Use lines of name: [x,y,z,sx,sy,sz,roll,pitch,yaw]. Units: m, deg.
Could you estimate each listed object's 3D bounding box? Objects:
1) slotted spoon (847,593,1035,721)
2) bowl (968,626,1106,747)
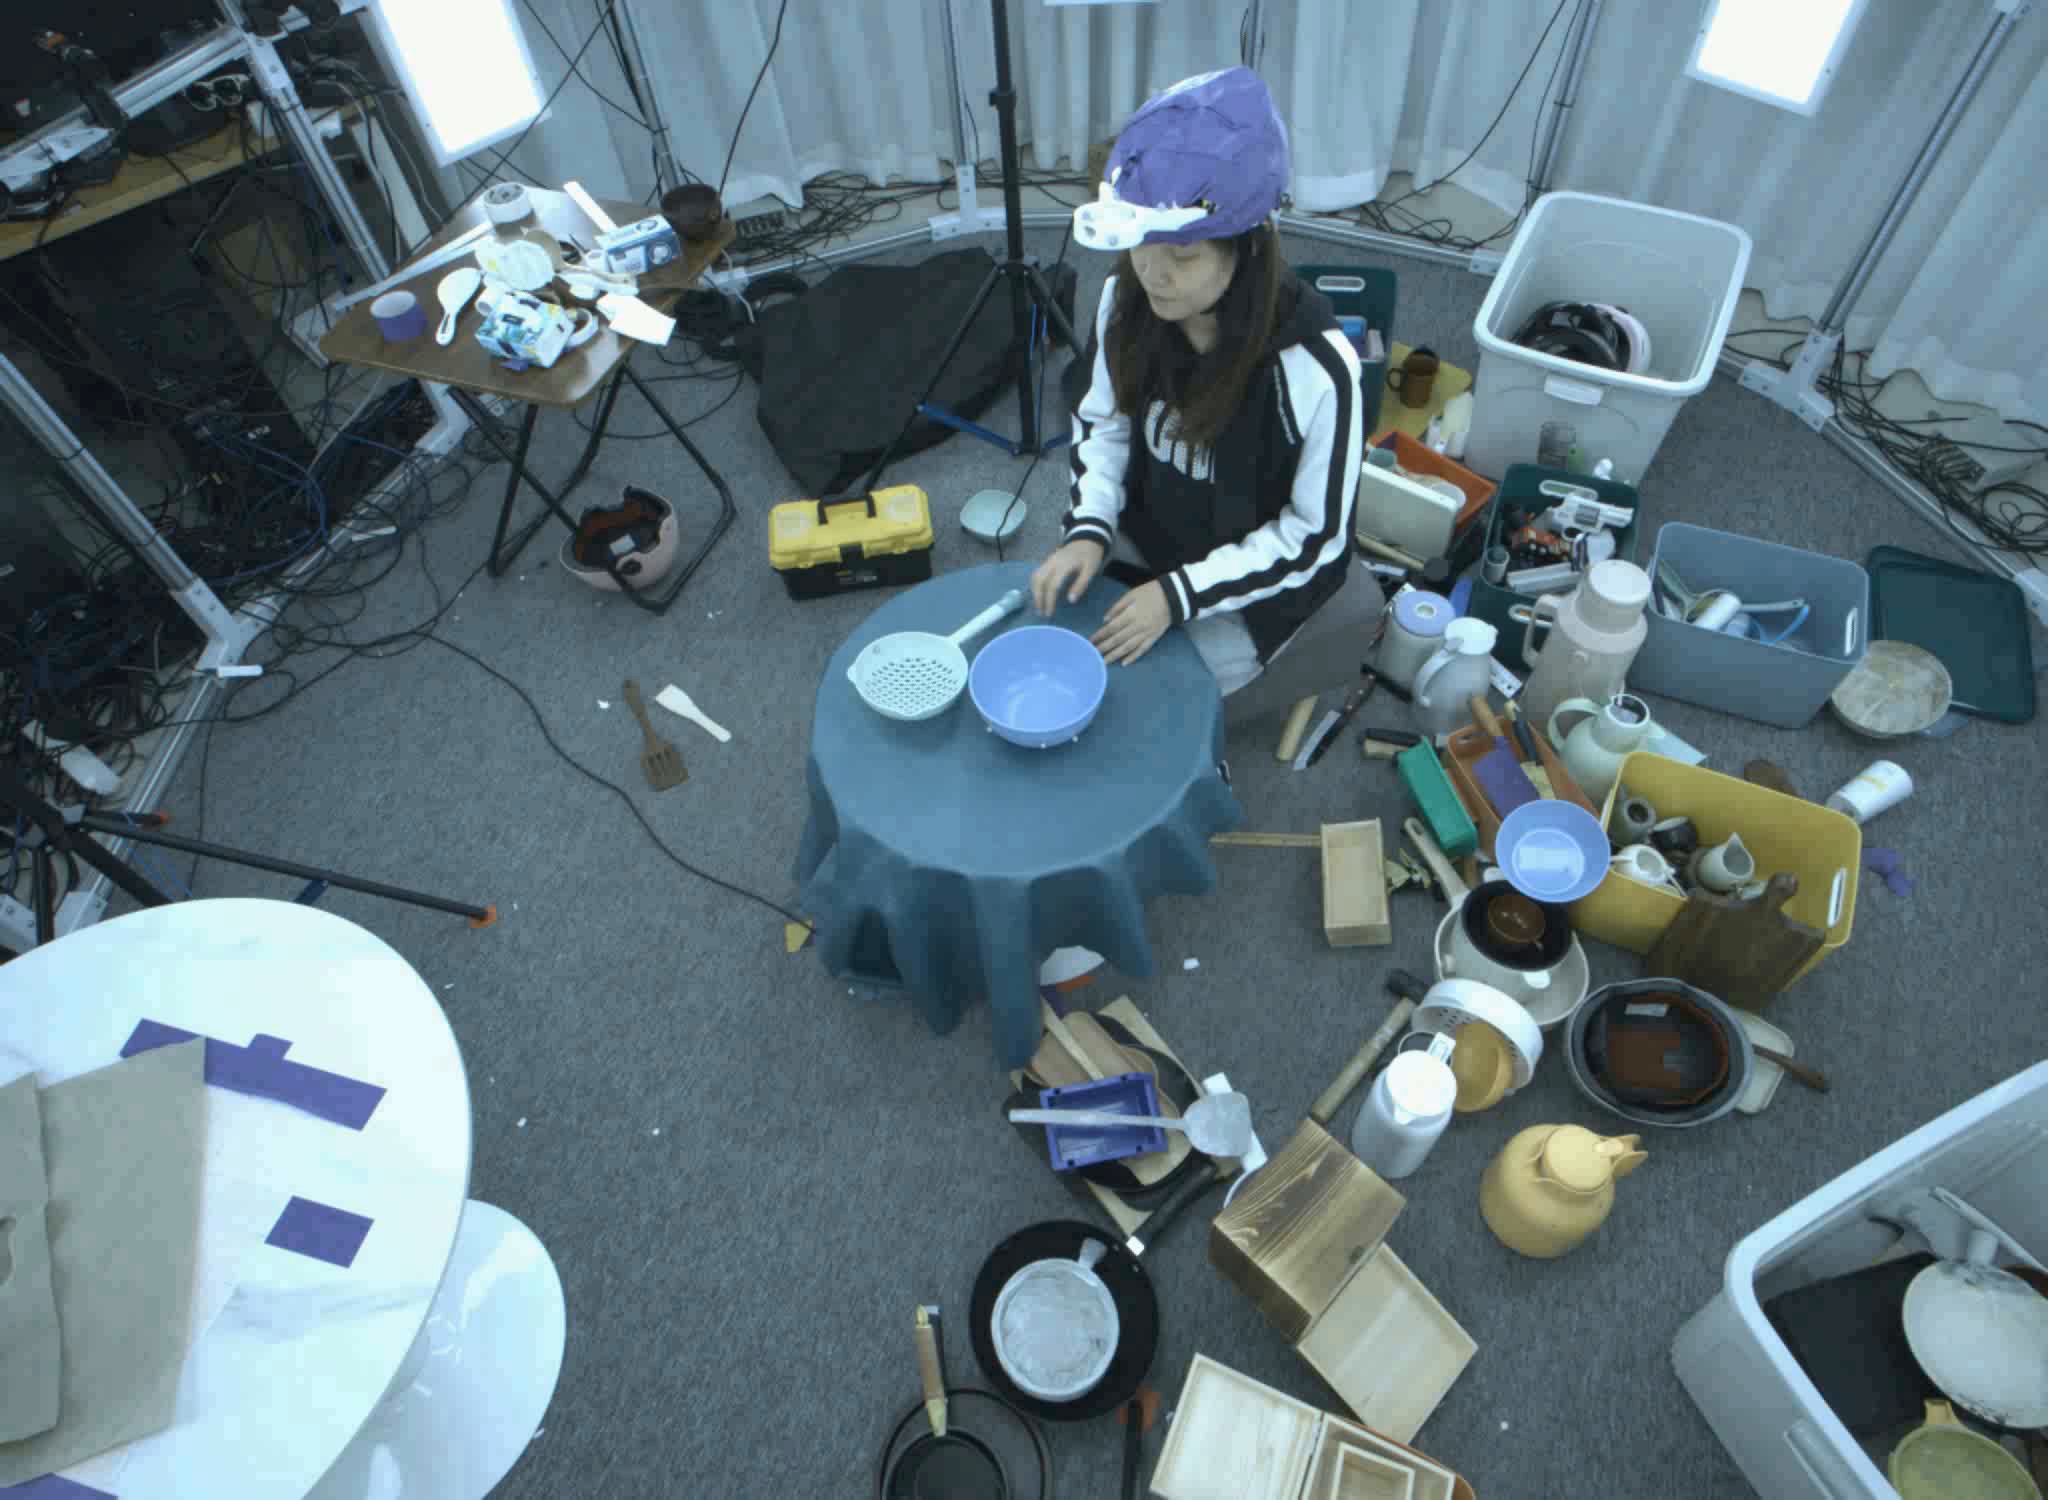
slotted spoon: [-0.105,-0.159,1.869,0.166,0.076,0.361,34,61,22]
bowl: [0.020,-0.077,1.783,0.196,0.096,0.194,-1,54,2]
